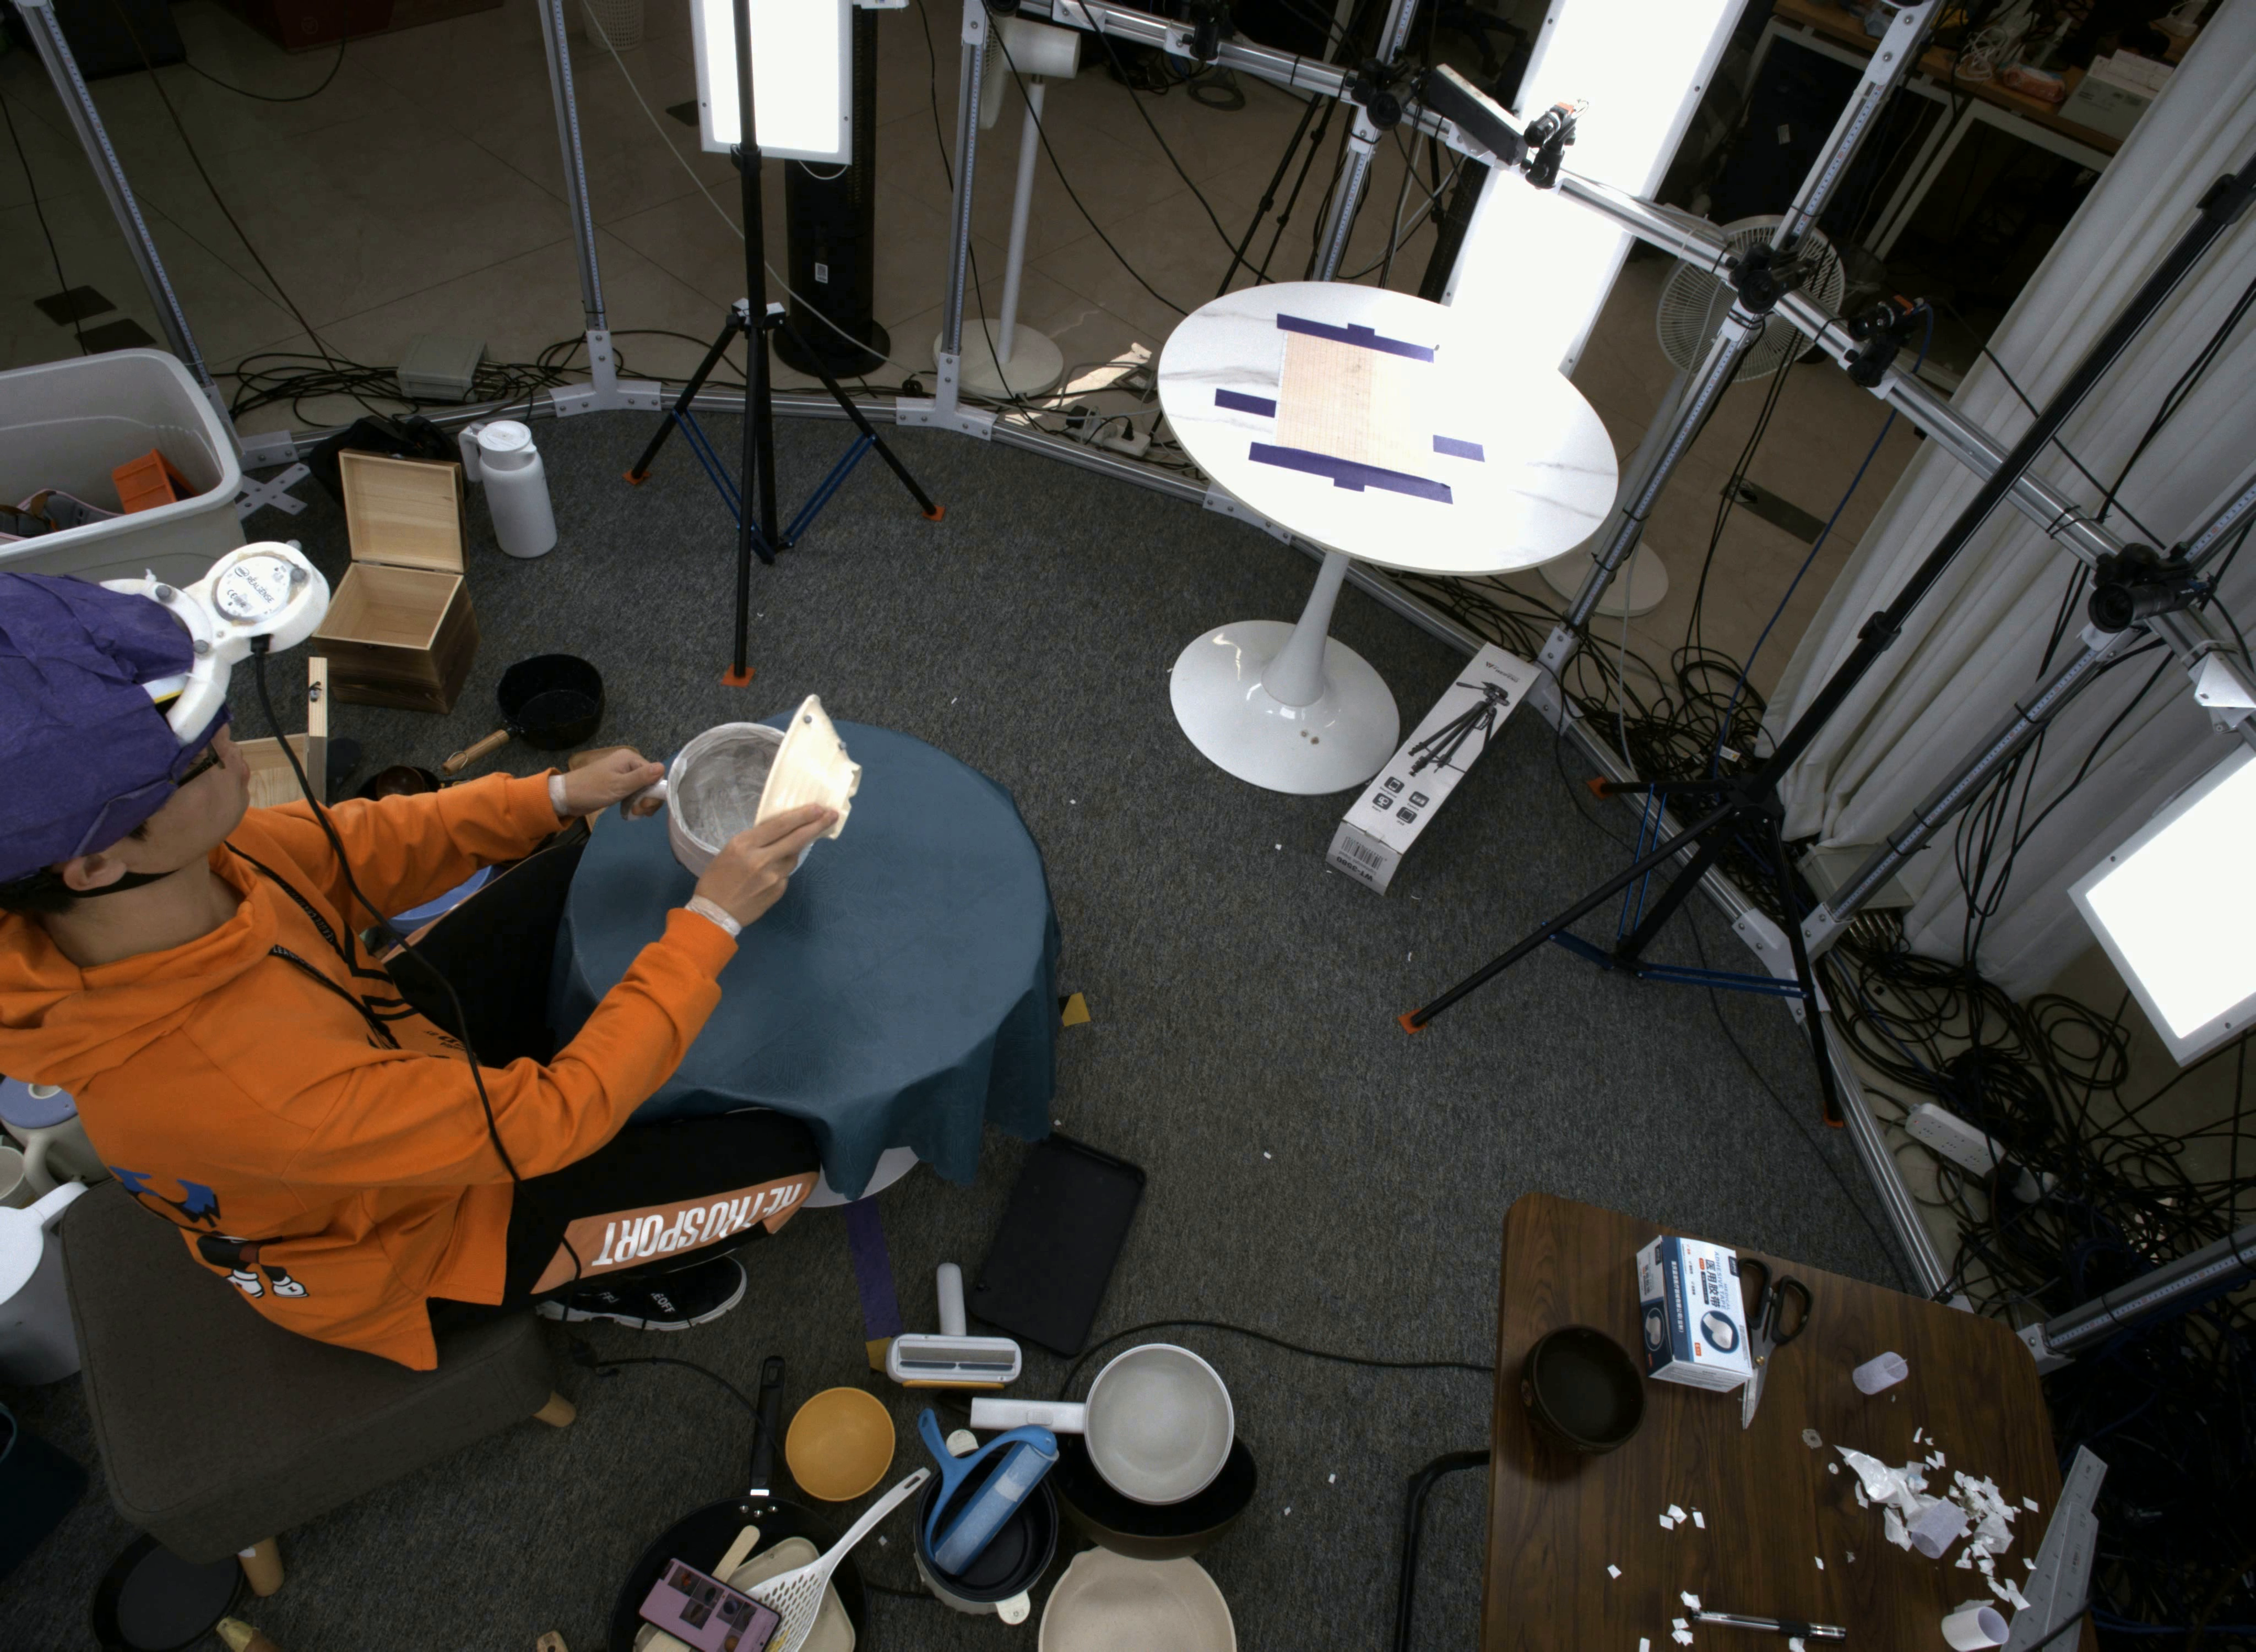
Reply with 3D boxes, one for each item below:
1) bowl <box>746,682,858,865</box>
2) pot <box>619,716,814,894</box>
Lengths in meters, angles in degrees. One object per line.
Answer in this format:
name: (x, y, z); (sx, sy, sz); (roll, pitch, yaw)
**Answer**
bowl: (-0.346, -0.047, 1.420); (0.078, 0.207, 0.201); (16, 50, -5)
pot: (-0.485, -0.024, 1.524); (0.235, 0.137, 0.177); (8, 65, -18)
